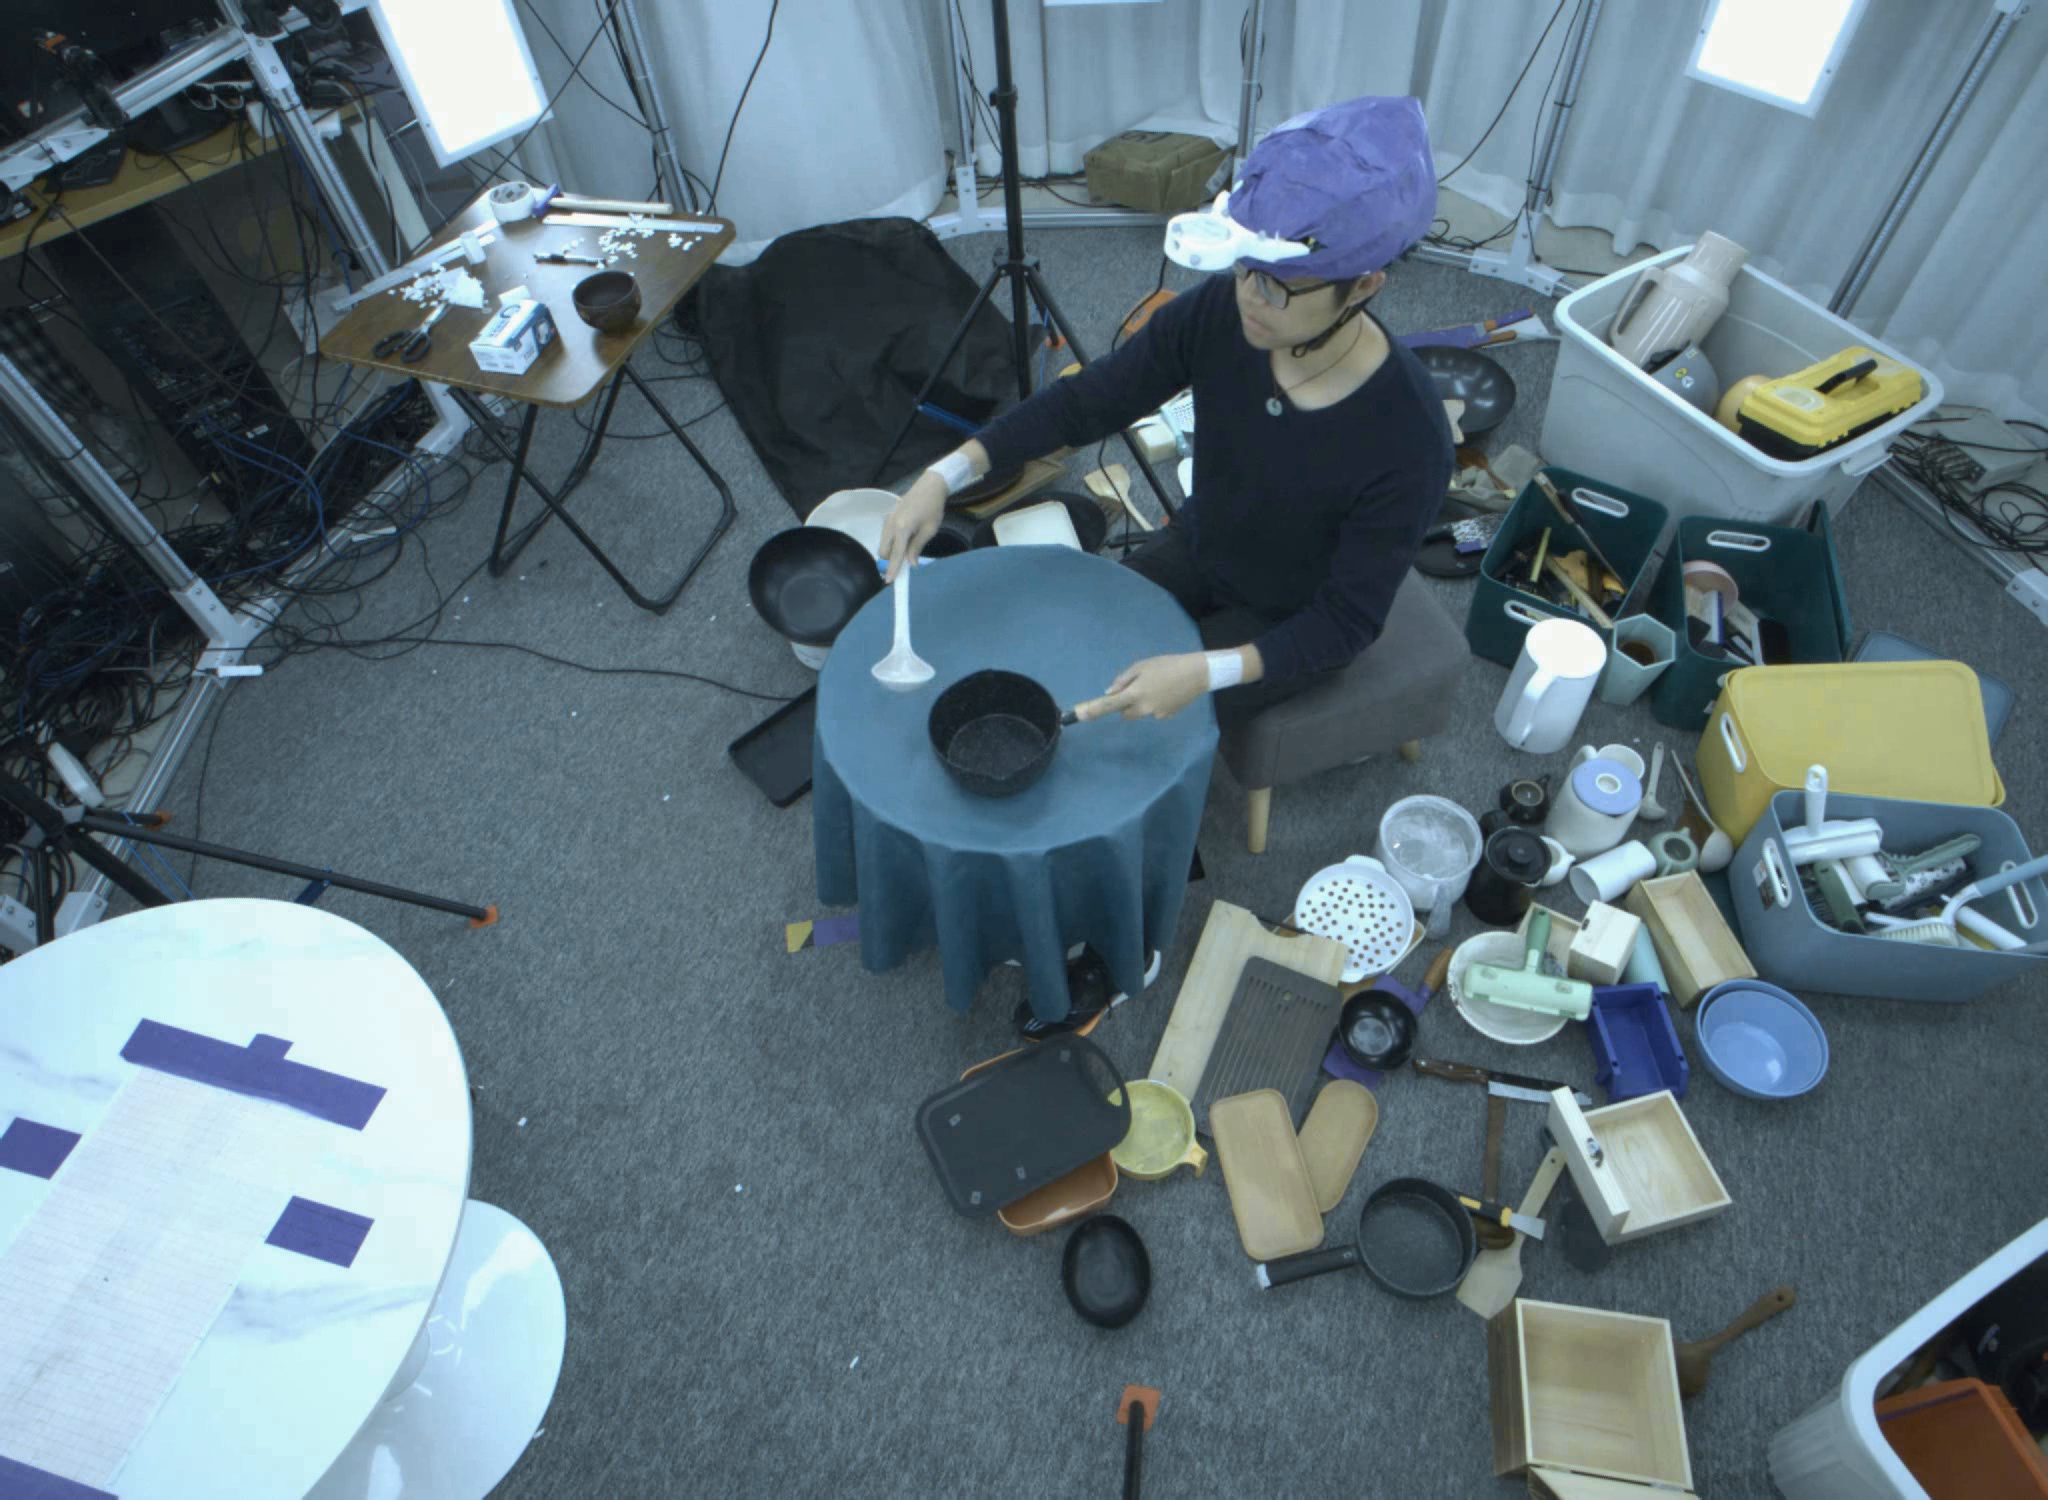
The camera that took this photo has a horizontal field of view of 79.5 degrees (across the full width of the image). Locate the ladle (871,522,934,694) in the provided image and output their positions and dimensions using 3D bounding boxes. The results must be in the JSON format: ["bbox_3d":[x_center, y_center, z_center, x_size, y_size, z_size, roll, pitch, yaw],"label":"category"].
[{"bbox_3d":[-0.175,-0.214,1.759,0.090,0.069,0.273,0,78,-6],"label":"ladle"}]

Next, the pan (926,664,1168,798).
[{"bbox_3d":[0.036,-0.038,1.746,0.344,0.109,0.204,-11,54,-4],"label":"pan"}]
